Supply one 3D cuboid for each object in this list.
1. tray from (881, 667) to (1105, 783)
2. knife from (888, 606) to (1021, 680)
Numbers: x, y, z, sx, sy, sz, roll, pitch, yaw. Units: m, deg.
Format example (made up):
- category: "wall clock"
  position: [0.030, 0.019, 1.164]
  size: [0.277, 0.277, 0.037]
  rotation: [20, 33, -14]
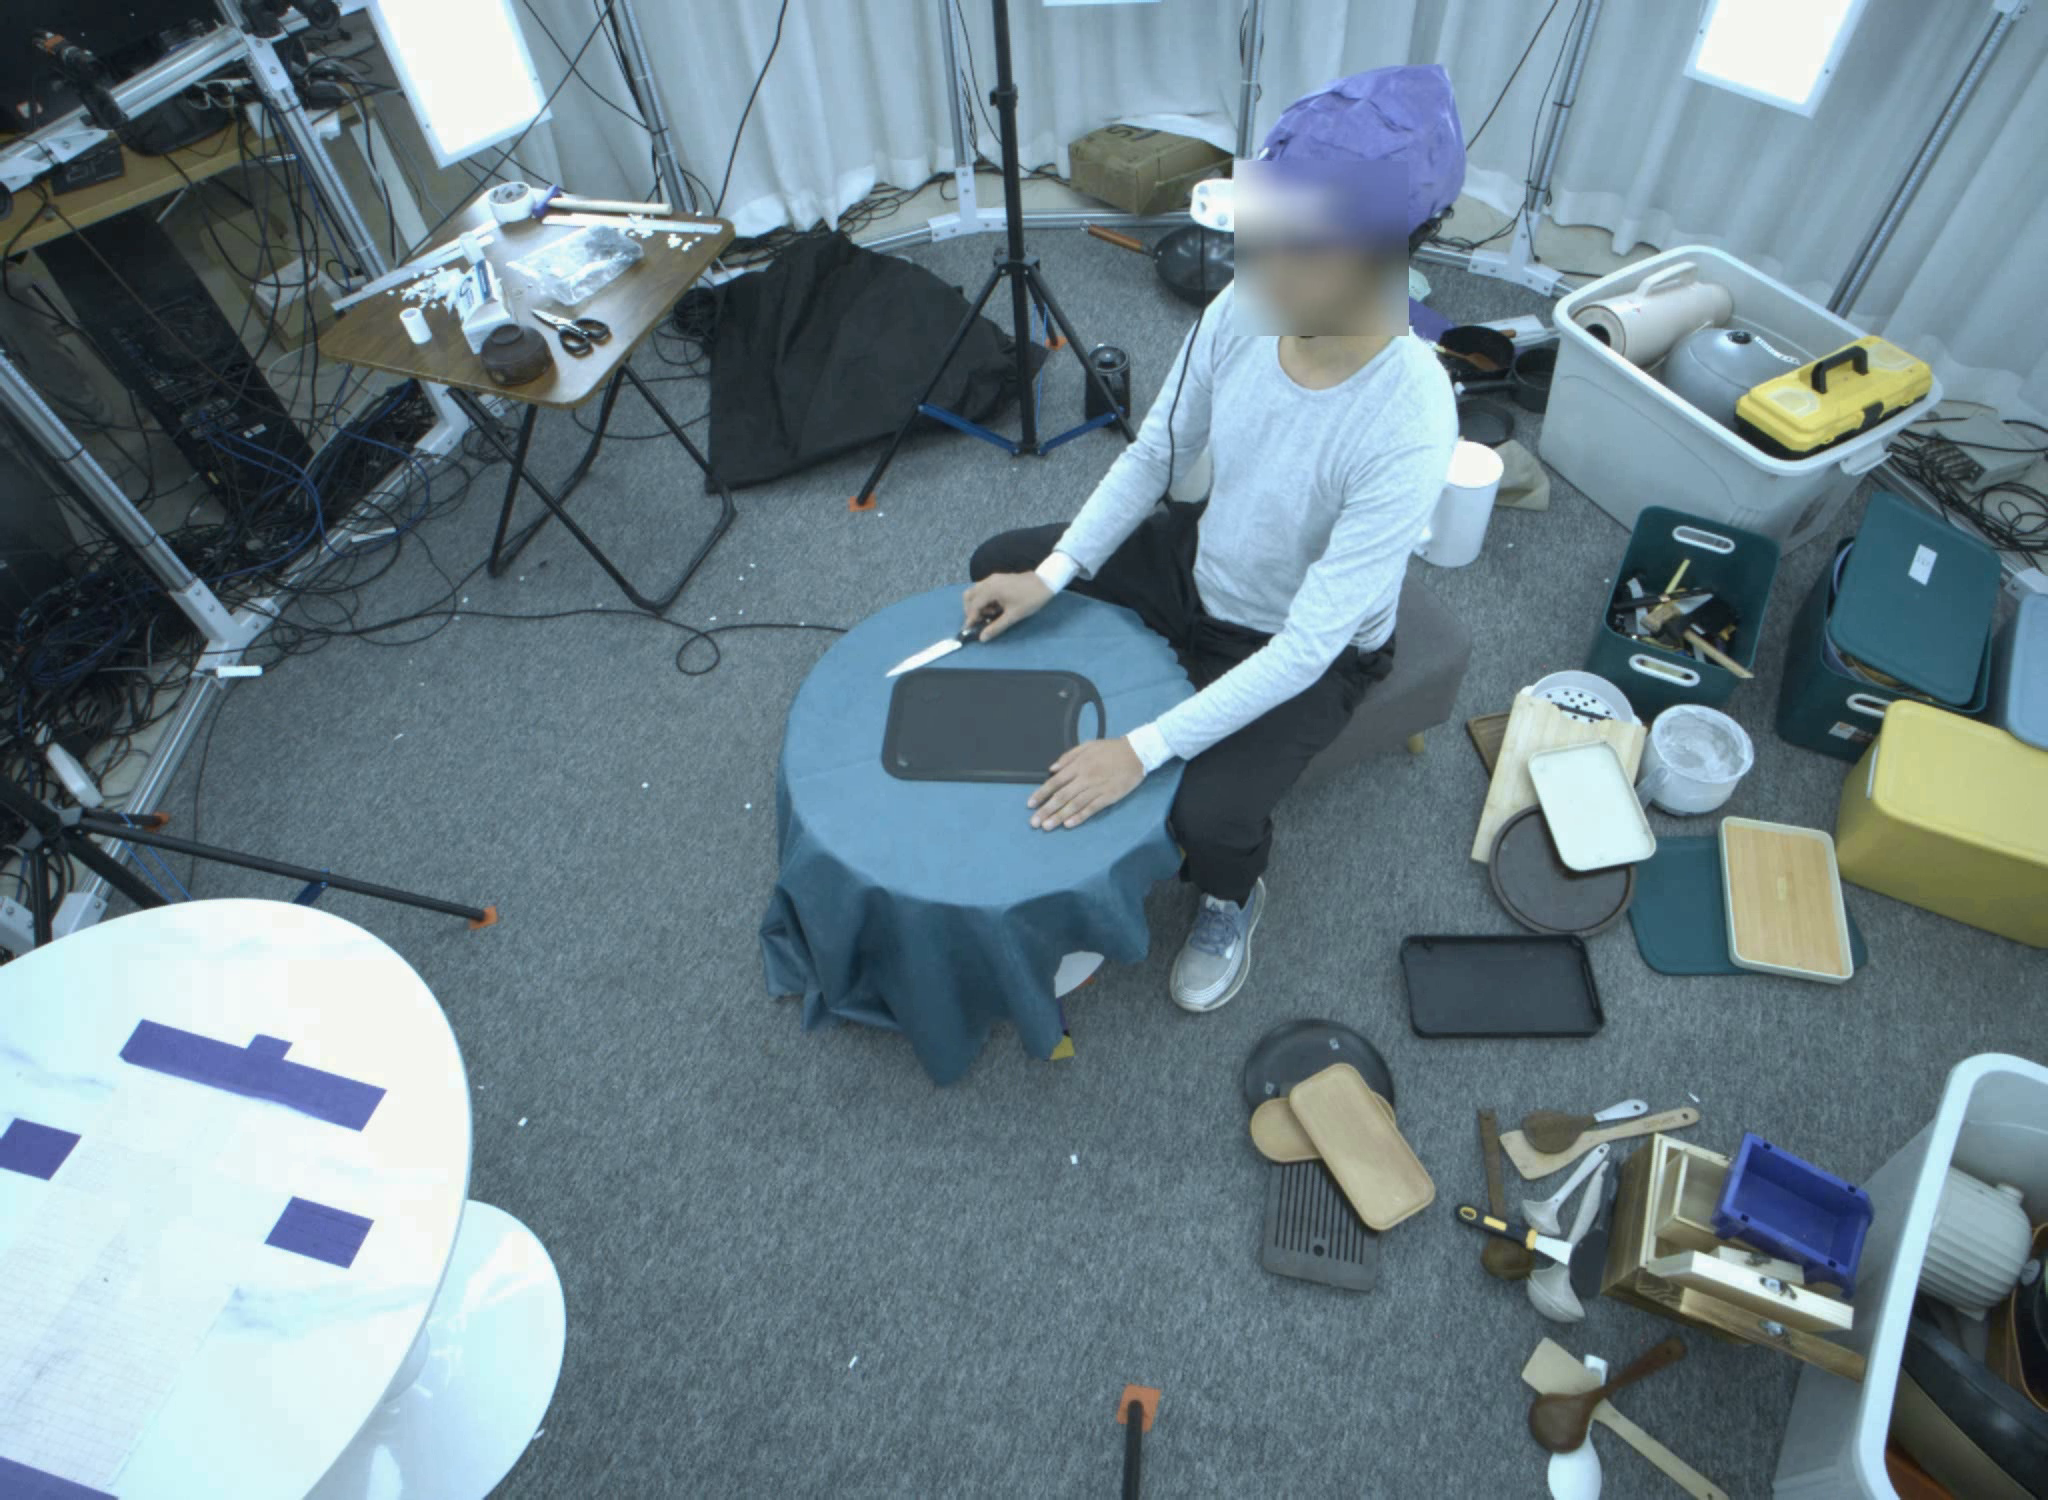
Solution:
- category: "tray"
  position: [-0.043, -0.041, 1.822]
  size: [0.325, 0.010, 0.209]
  rotation: [2, 55, 3]
- category: "knife"
  position: [-0.110, -0.167, 1.910]
  size: [0.240, 0.016, 0.024]
  rotation: [-29, 63, -15]
